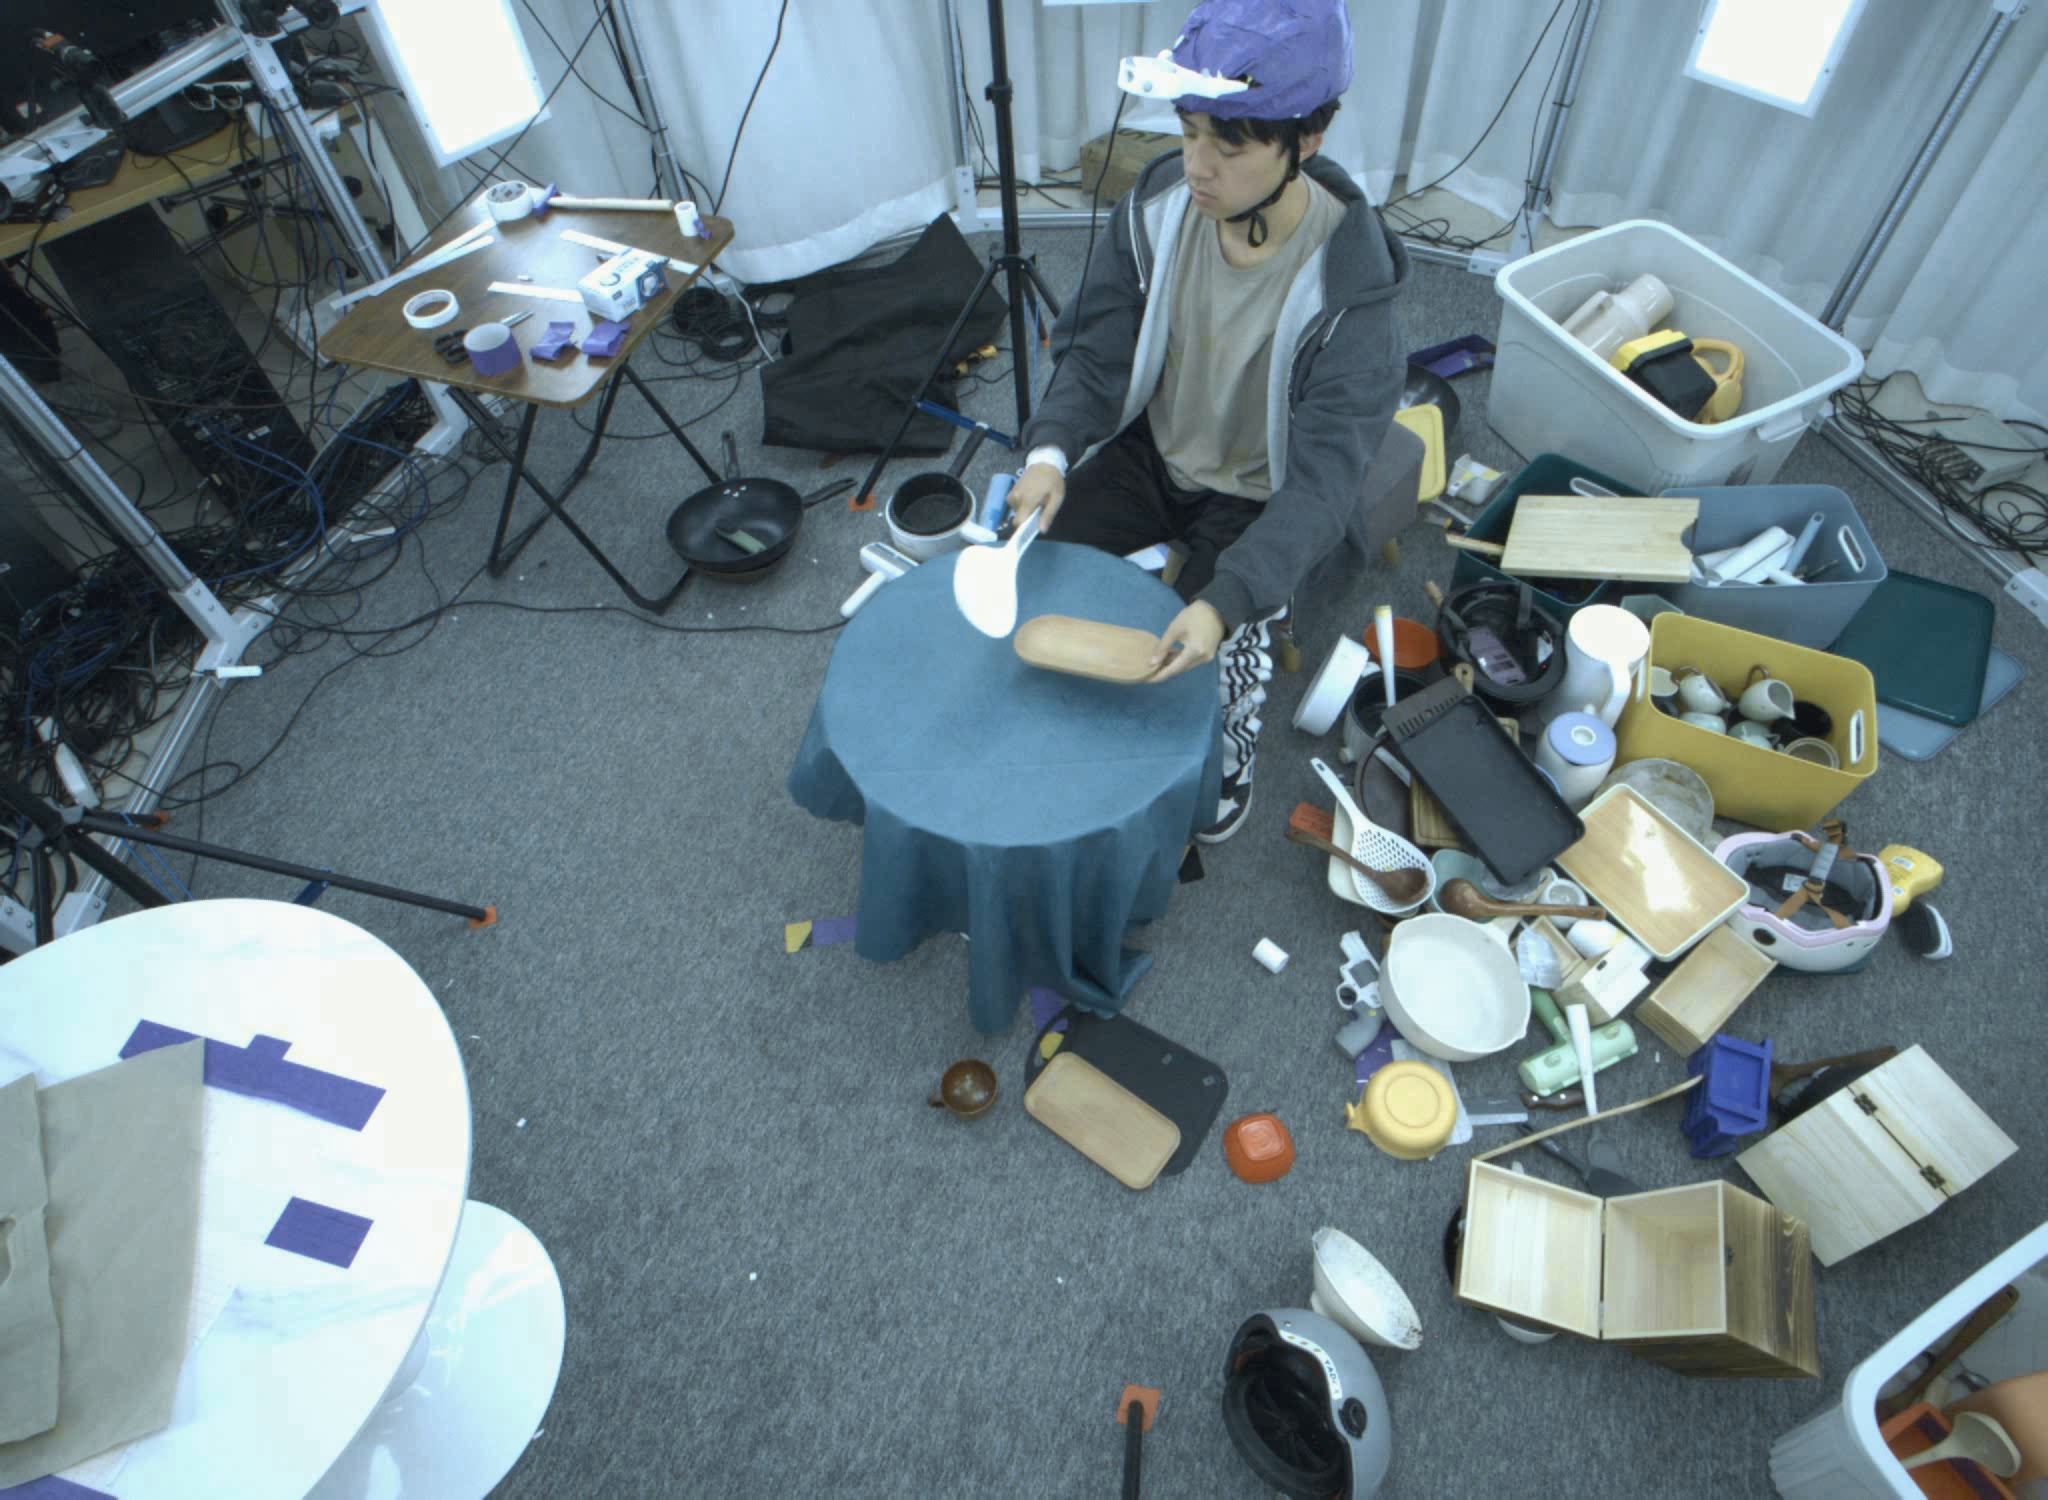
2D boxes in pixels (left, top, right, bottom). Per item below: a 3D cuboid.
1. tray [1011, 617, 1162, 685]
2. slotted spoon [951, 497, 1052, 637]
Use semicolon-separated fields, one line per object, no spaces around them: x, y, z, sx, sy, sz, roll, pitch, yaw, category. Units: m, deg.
0.091;-0.145;1.809;0.228;0.020;0.101;11;52;20;tray
-0.026;-0.293;1.842;0.045;0.138;0.350;-10;33;36;slotted spoon
